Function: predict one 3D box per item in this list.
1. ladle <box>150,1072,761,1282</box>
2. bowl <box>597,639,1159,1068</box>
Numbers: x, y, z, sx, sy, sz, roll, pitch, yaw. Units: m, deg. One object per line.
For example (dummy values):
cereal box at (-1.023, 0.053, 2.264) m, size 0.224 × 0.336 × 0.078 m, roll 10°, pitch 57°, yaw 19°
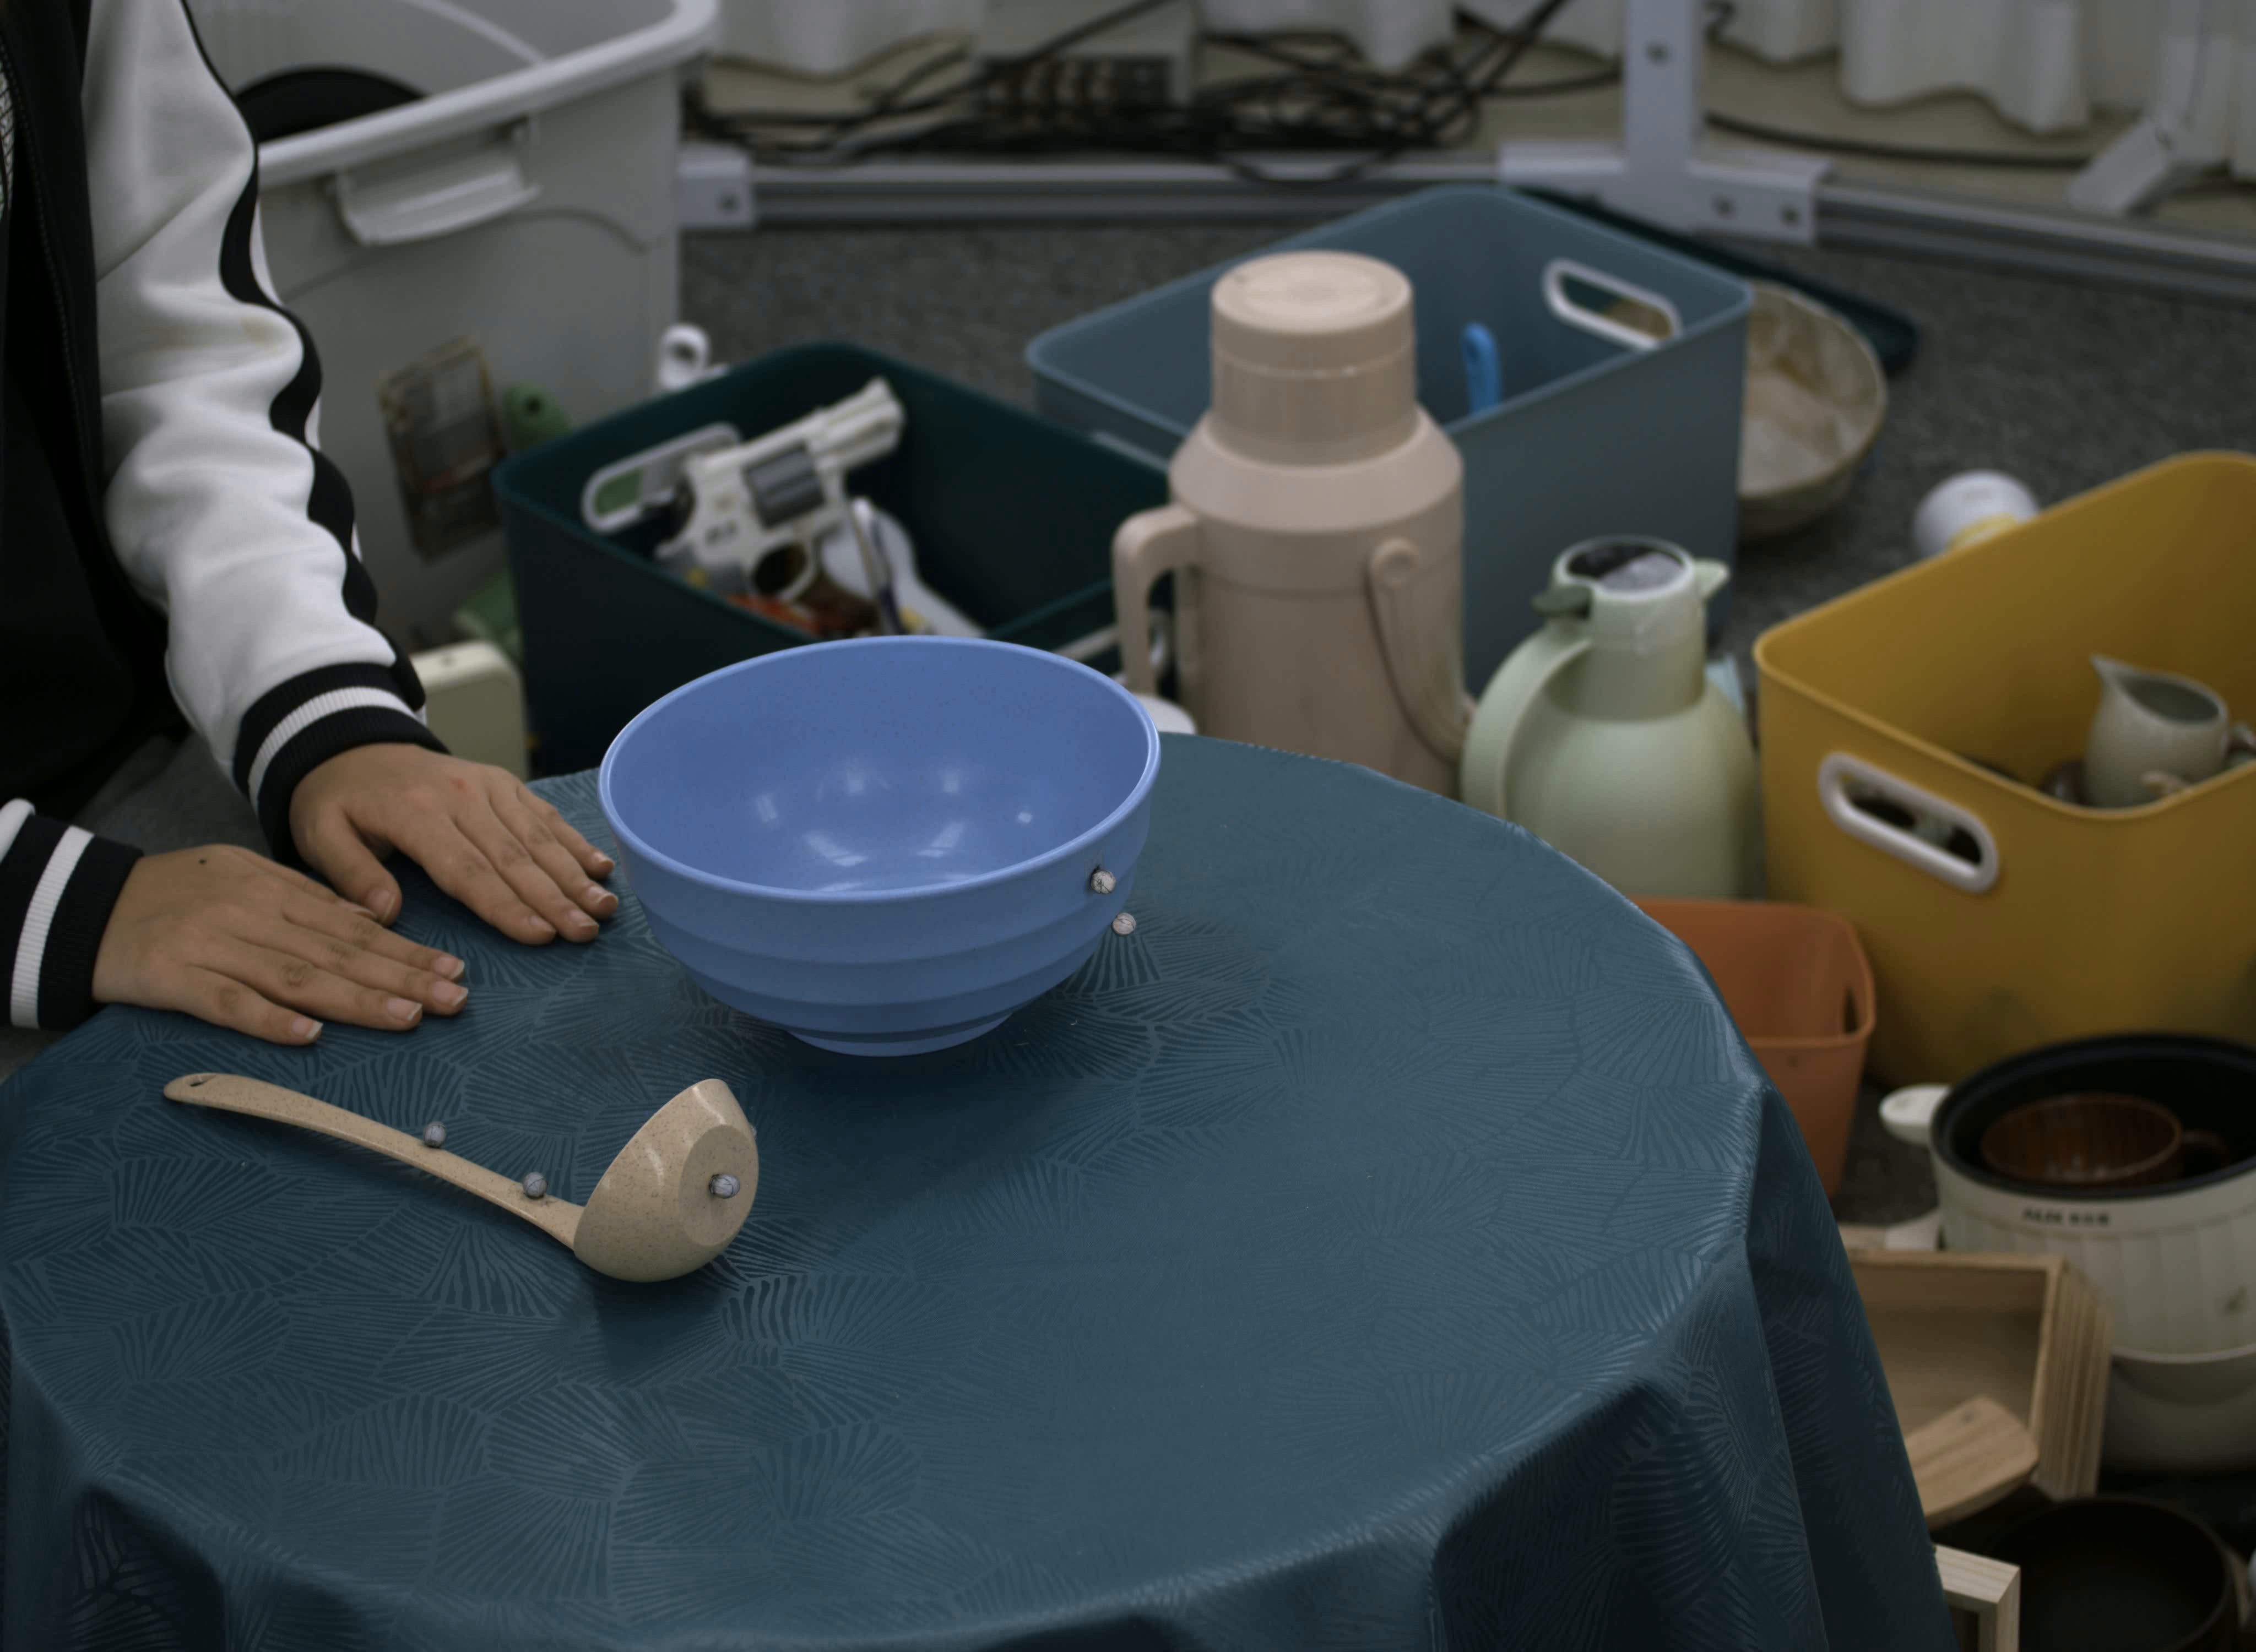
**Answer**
ladle at (-0.233, 0.091, 1.866) m, size 0.253 × 0.072 × 0.073 m, roll 15°, pitch 31°, yaw 31°
bowl at (-0.083, 0.021, 1.970) m, size 0.195 × 0.094 × 0.199 m, roll -4°, pitch 28°, yaw 2°
